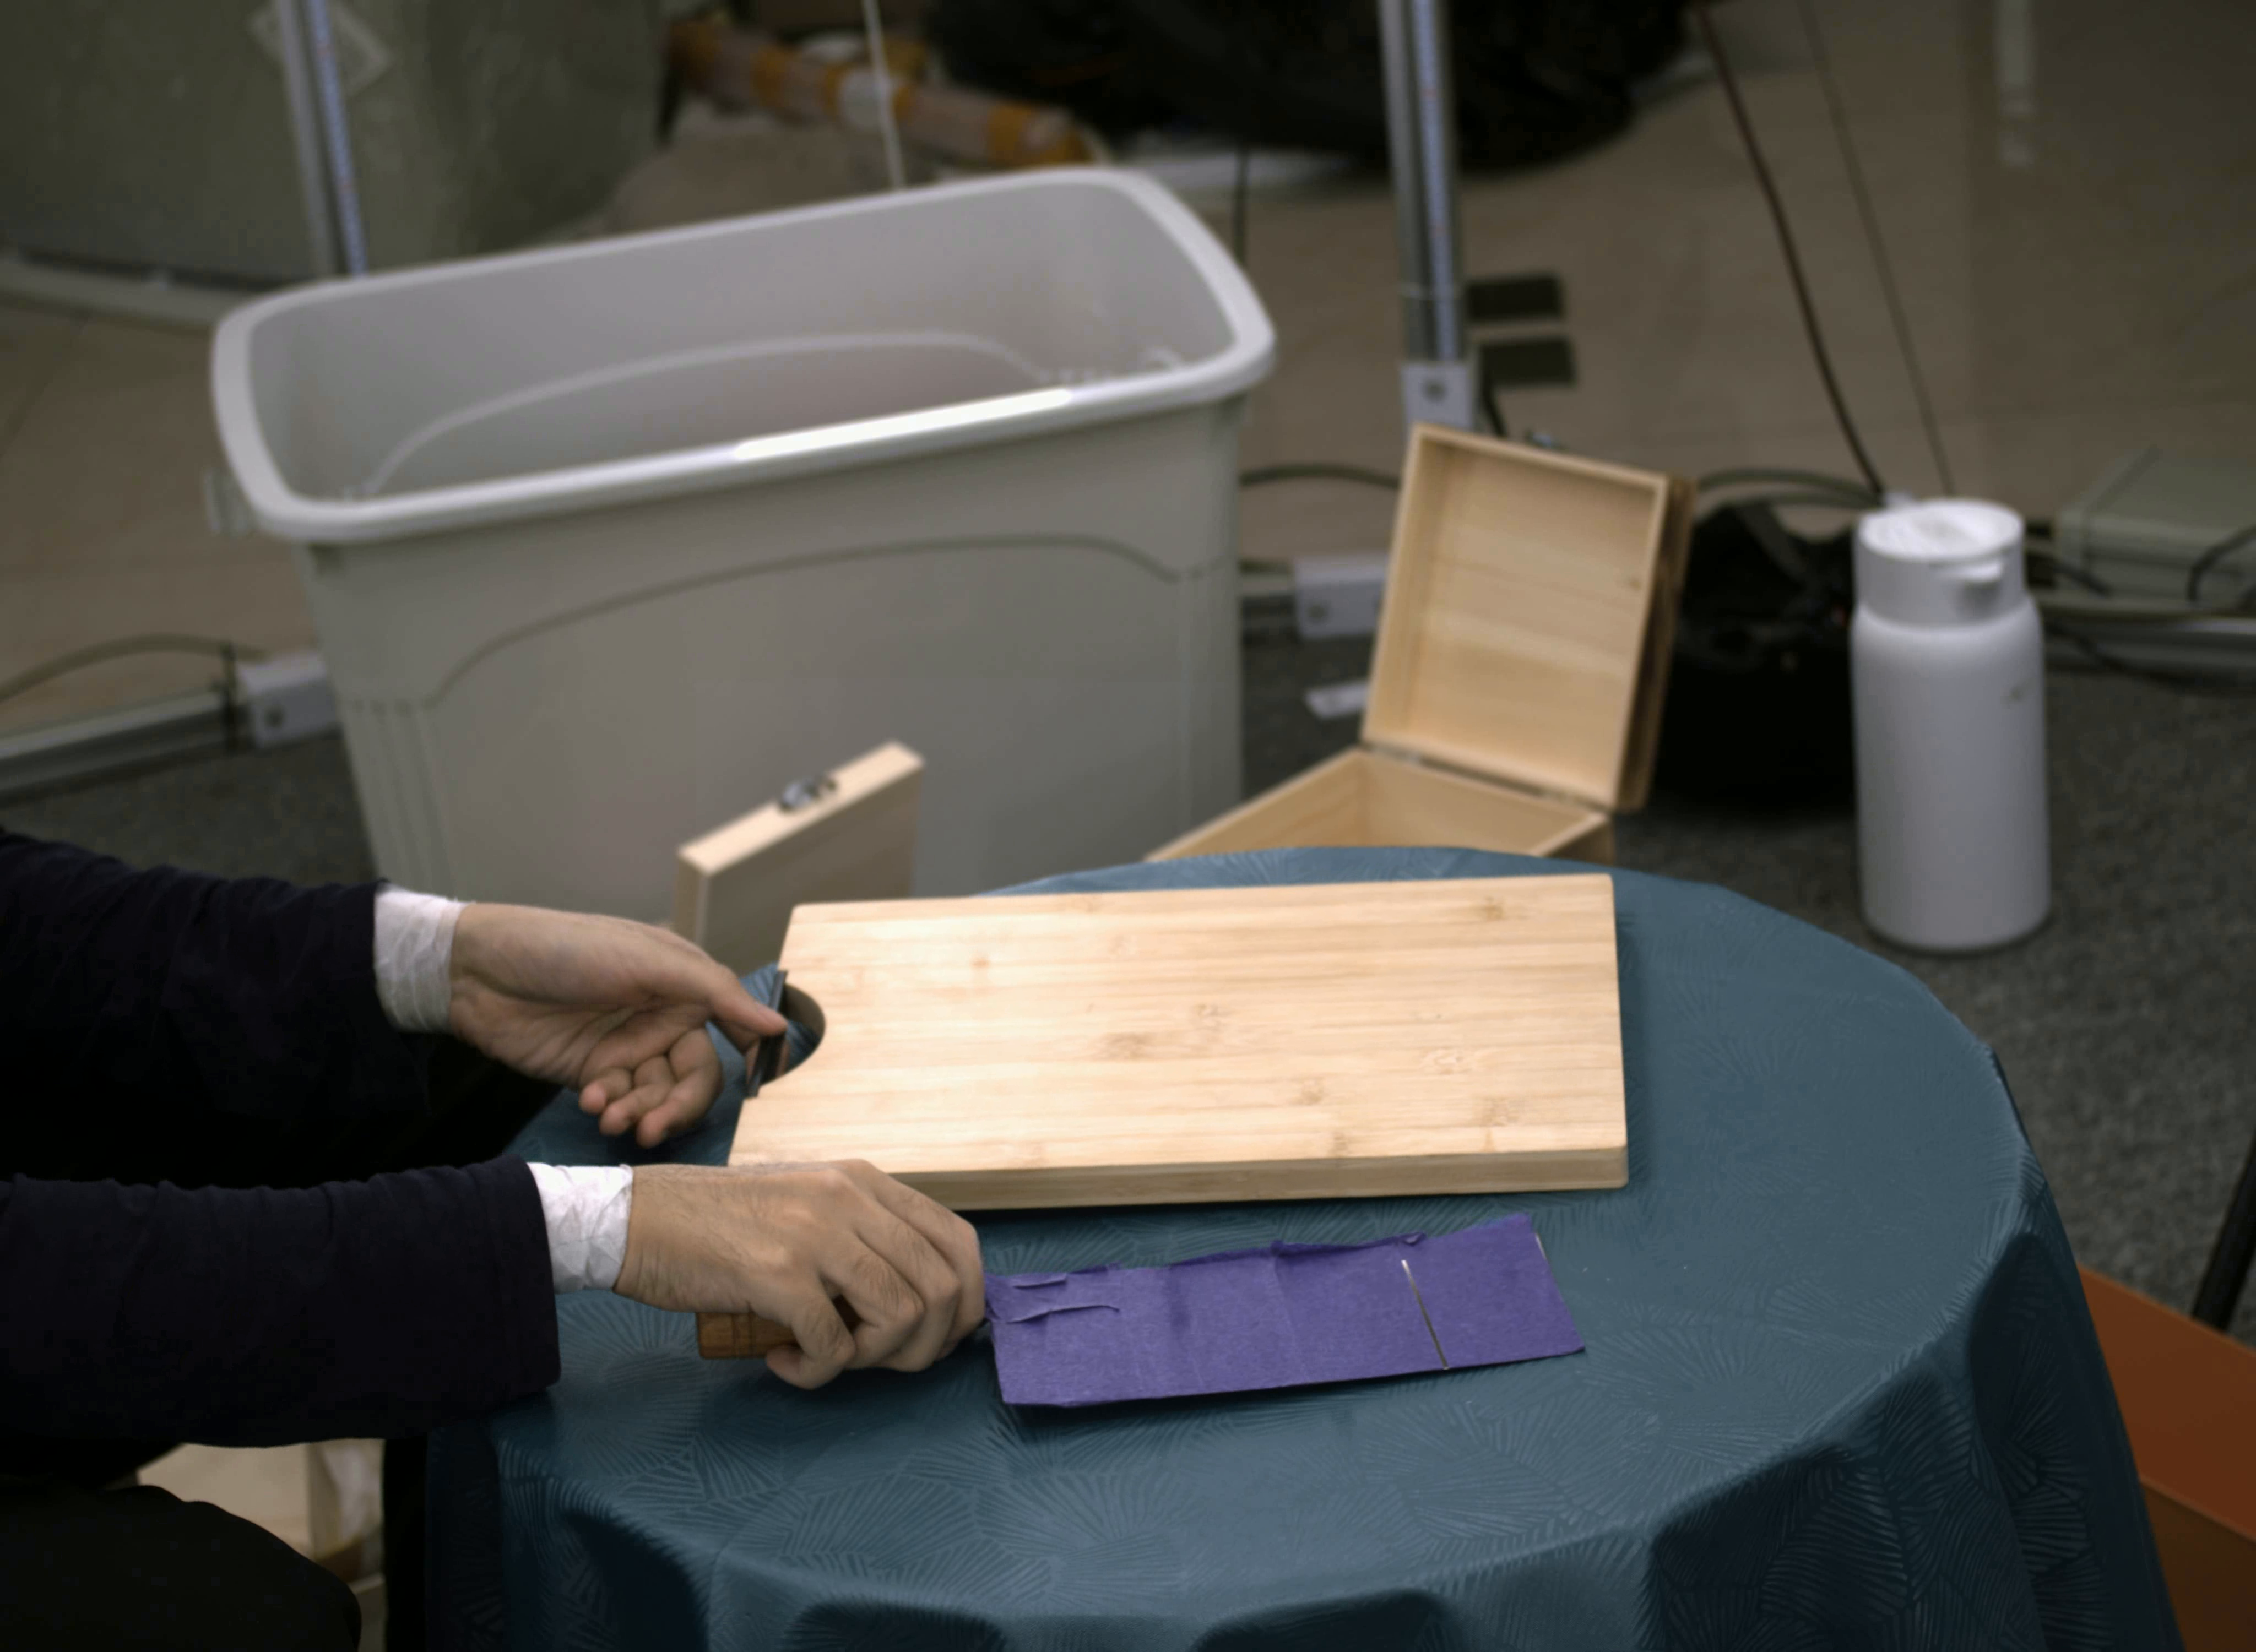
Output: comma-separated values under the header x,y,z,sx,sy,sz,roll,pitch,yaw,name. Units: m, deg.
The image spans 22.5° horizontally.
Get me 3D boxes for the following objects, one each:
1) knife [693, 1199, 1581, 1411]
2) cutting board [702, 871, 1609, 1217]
x,y,z,sx,sy,sz,roll,pitch,yaw,name
0.002,0.176,2.035,0.314,0.033,0.102,-8,25,-4,knife
0.018,0.084,2.231,0.348,0.024,0.247,-2,25,4,cutting board
